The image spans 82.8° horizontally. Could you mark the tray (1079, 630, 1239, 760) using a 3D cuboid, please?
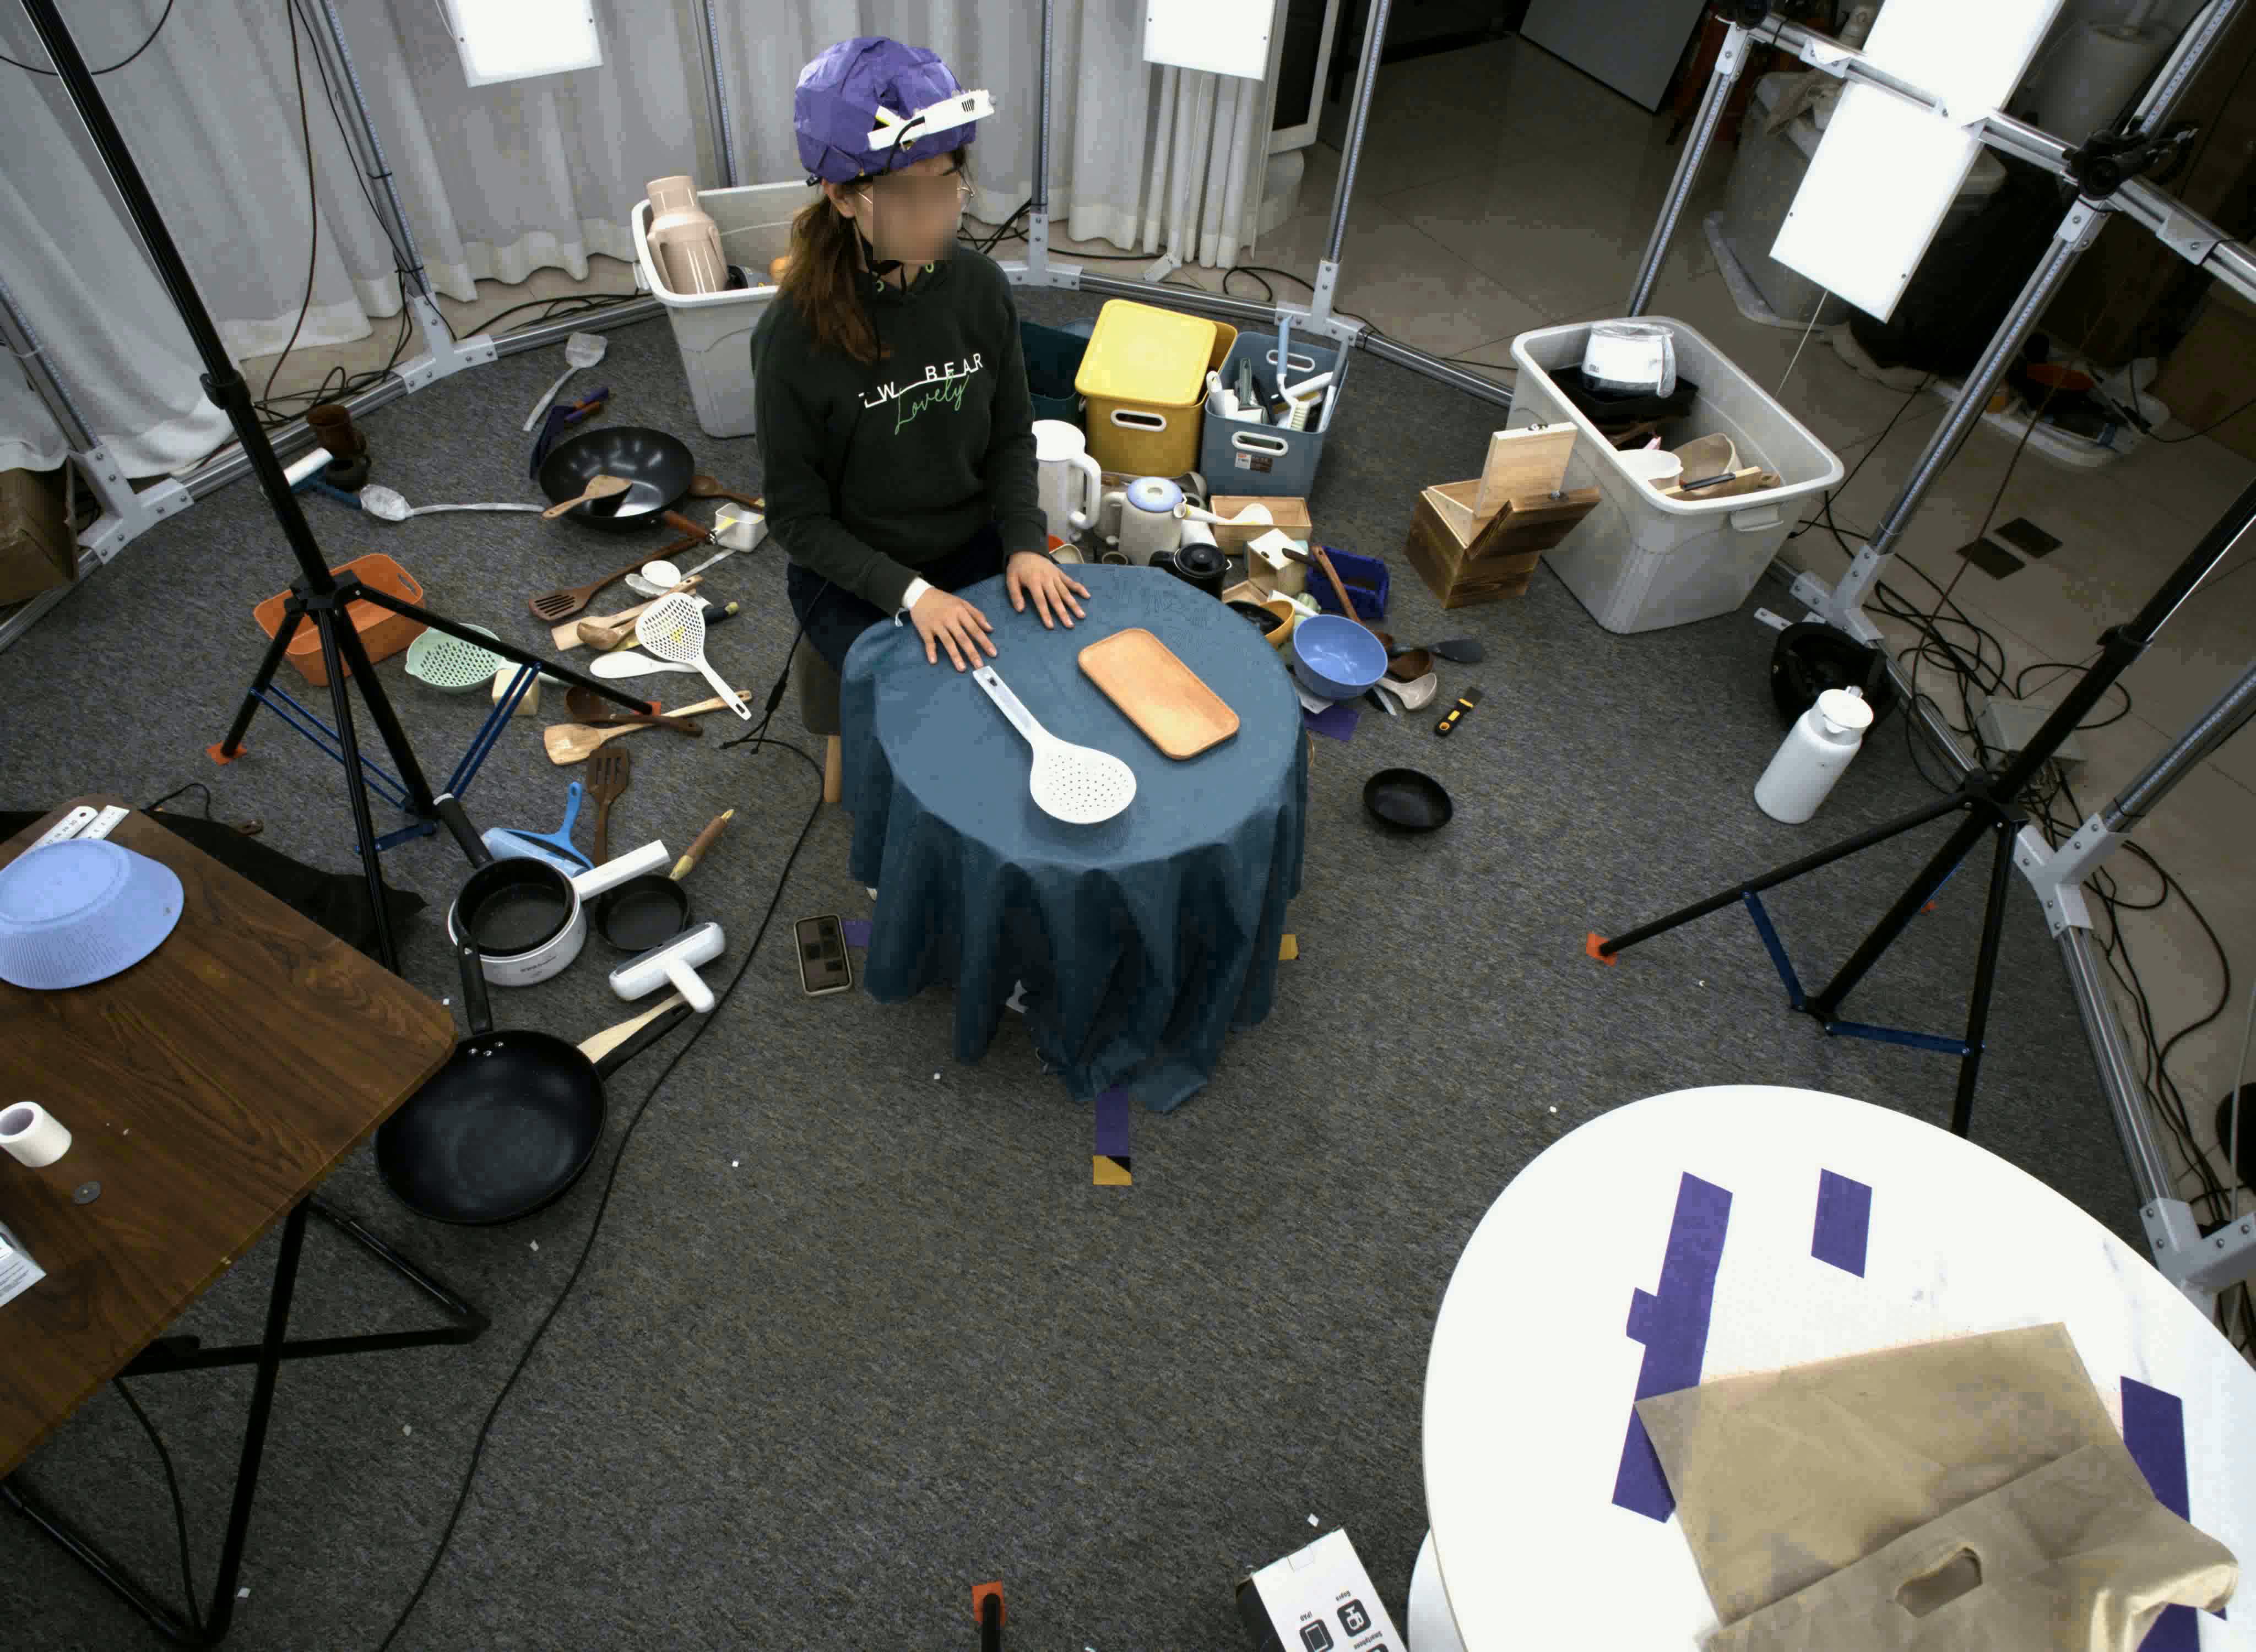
[{"bbox_3d":[0.042,-0.191,1.843,0.131,0.022,0.255,-26,54,-26],"label":"tray"}]

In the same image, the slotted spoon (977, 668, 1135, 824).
[{"bbox_3d":[-0.116,-0.114,1.746,0.136,0.044,0.357,-21,53,-24],"label":"slotted spoon"}]
